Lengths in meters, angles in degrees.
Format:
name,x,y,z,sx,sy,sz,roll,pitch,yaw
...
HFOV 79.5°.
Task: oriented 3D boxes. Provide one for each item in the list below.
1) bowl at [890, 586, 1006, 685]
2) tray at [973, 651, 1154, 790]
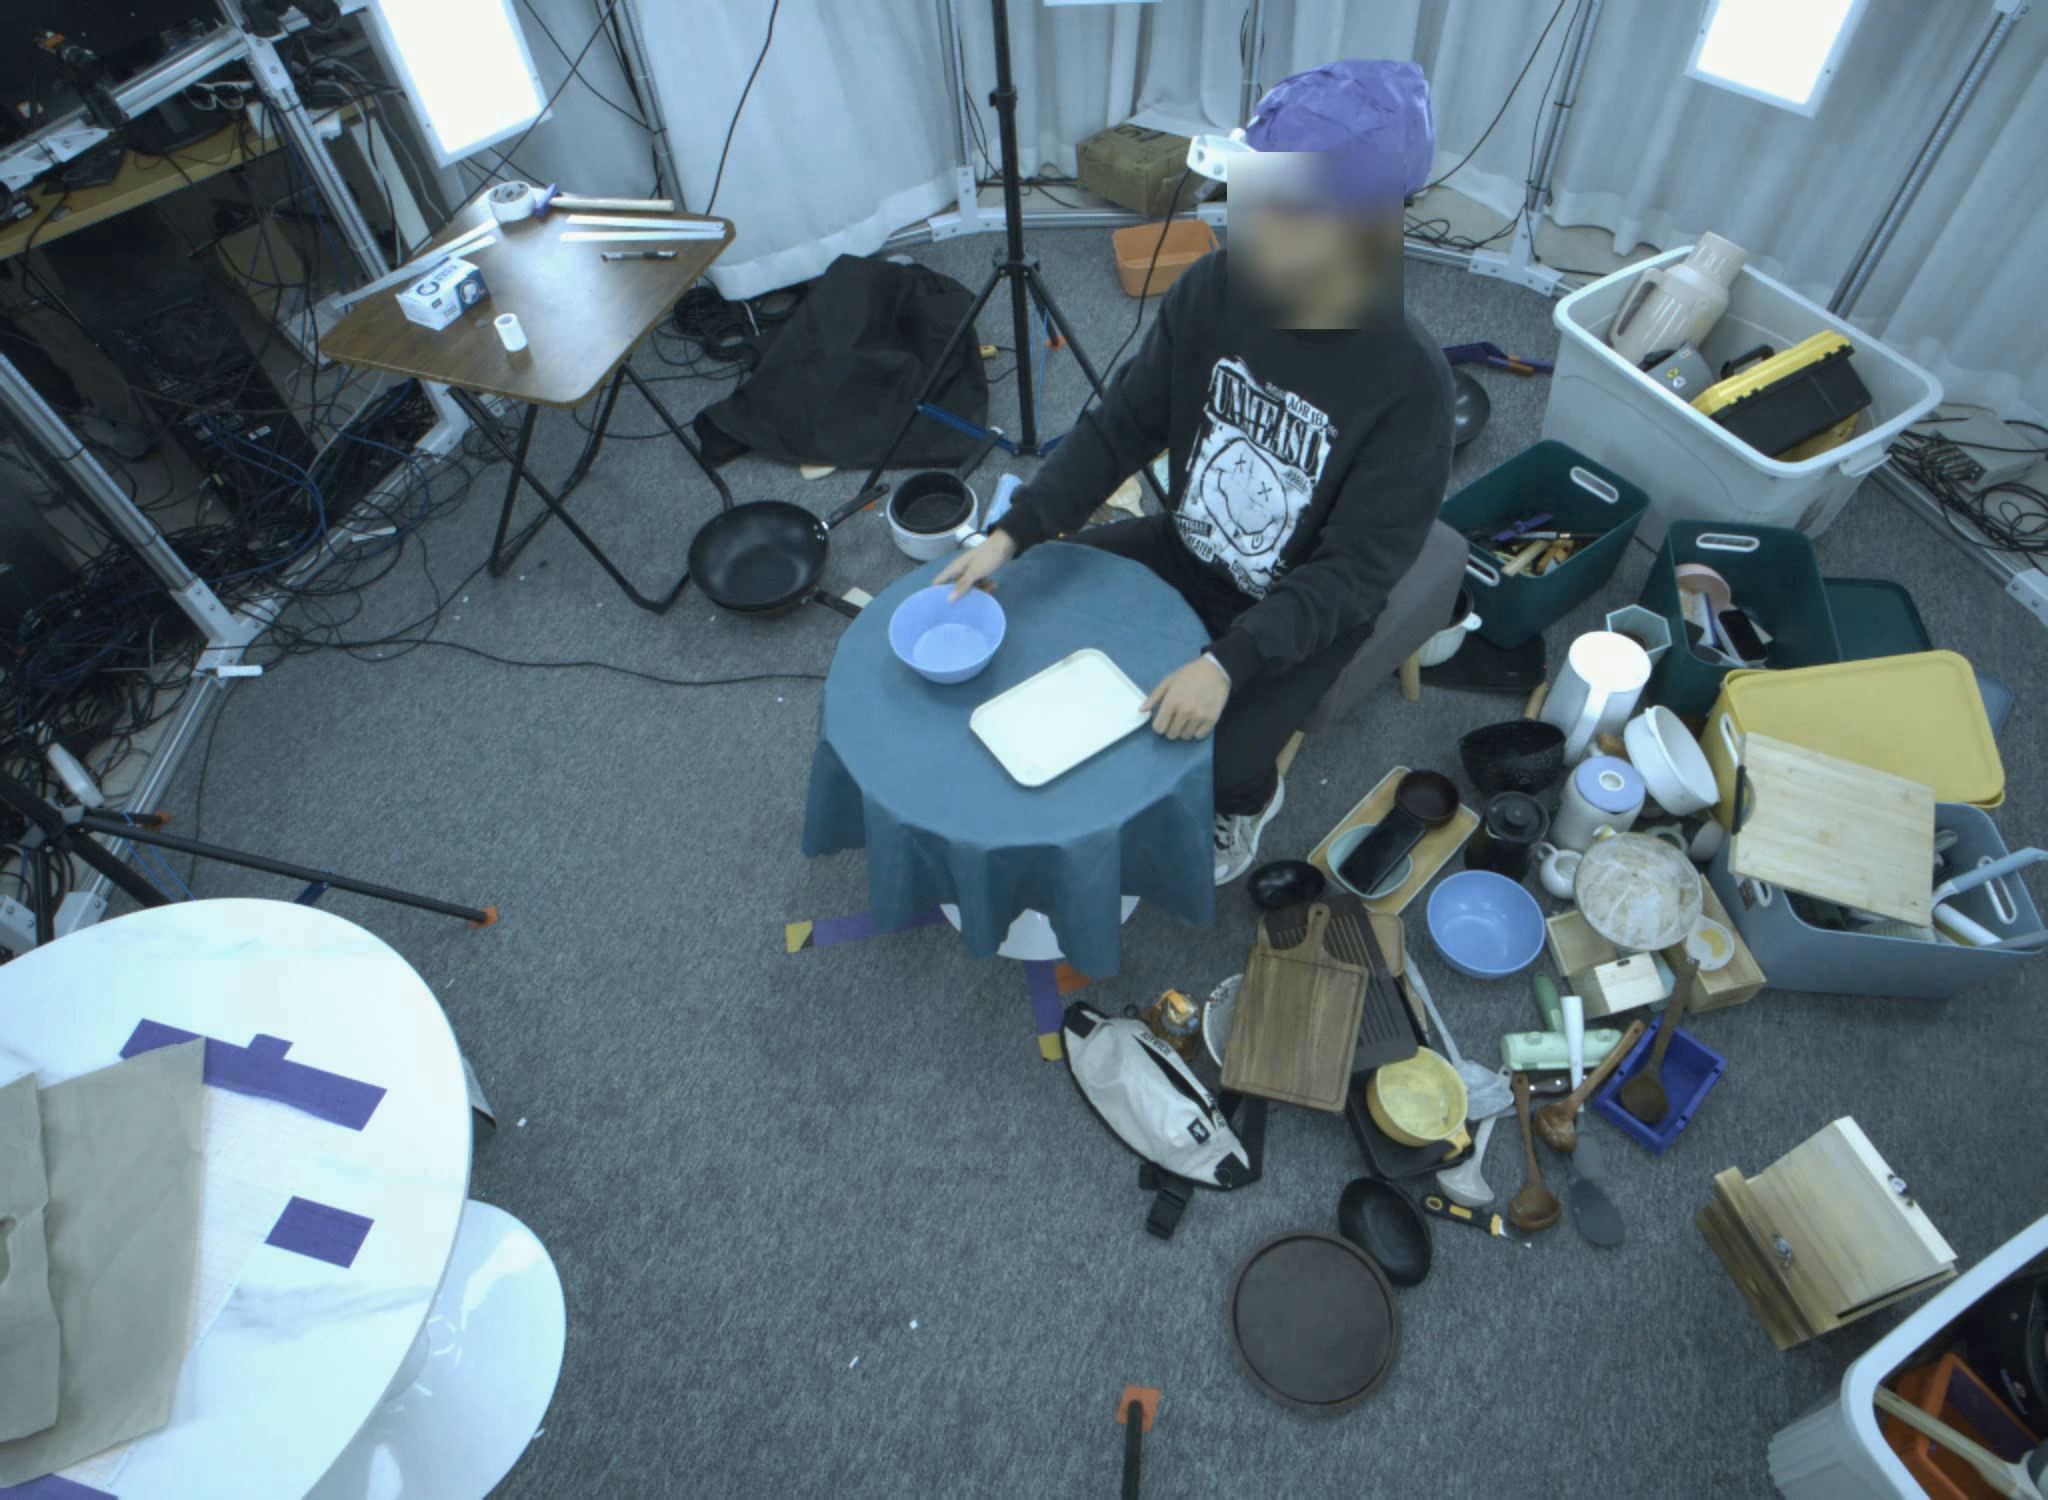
name,x,y,z,sx,sy,sz,roll,pitch,yaw
bowl,-0.113,-0.165,1.873,0.176,0.071,0.174,0,55,1
tray,0.058,-0.044,1.817,0.241,0.017,0.168,-30,60,-18
